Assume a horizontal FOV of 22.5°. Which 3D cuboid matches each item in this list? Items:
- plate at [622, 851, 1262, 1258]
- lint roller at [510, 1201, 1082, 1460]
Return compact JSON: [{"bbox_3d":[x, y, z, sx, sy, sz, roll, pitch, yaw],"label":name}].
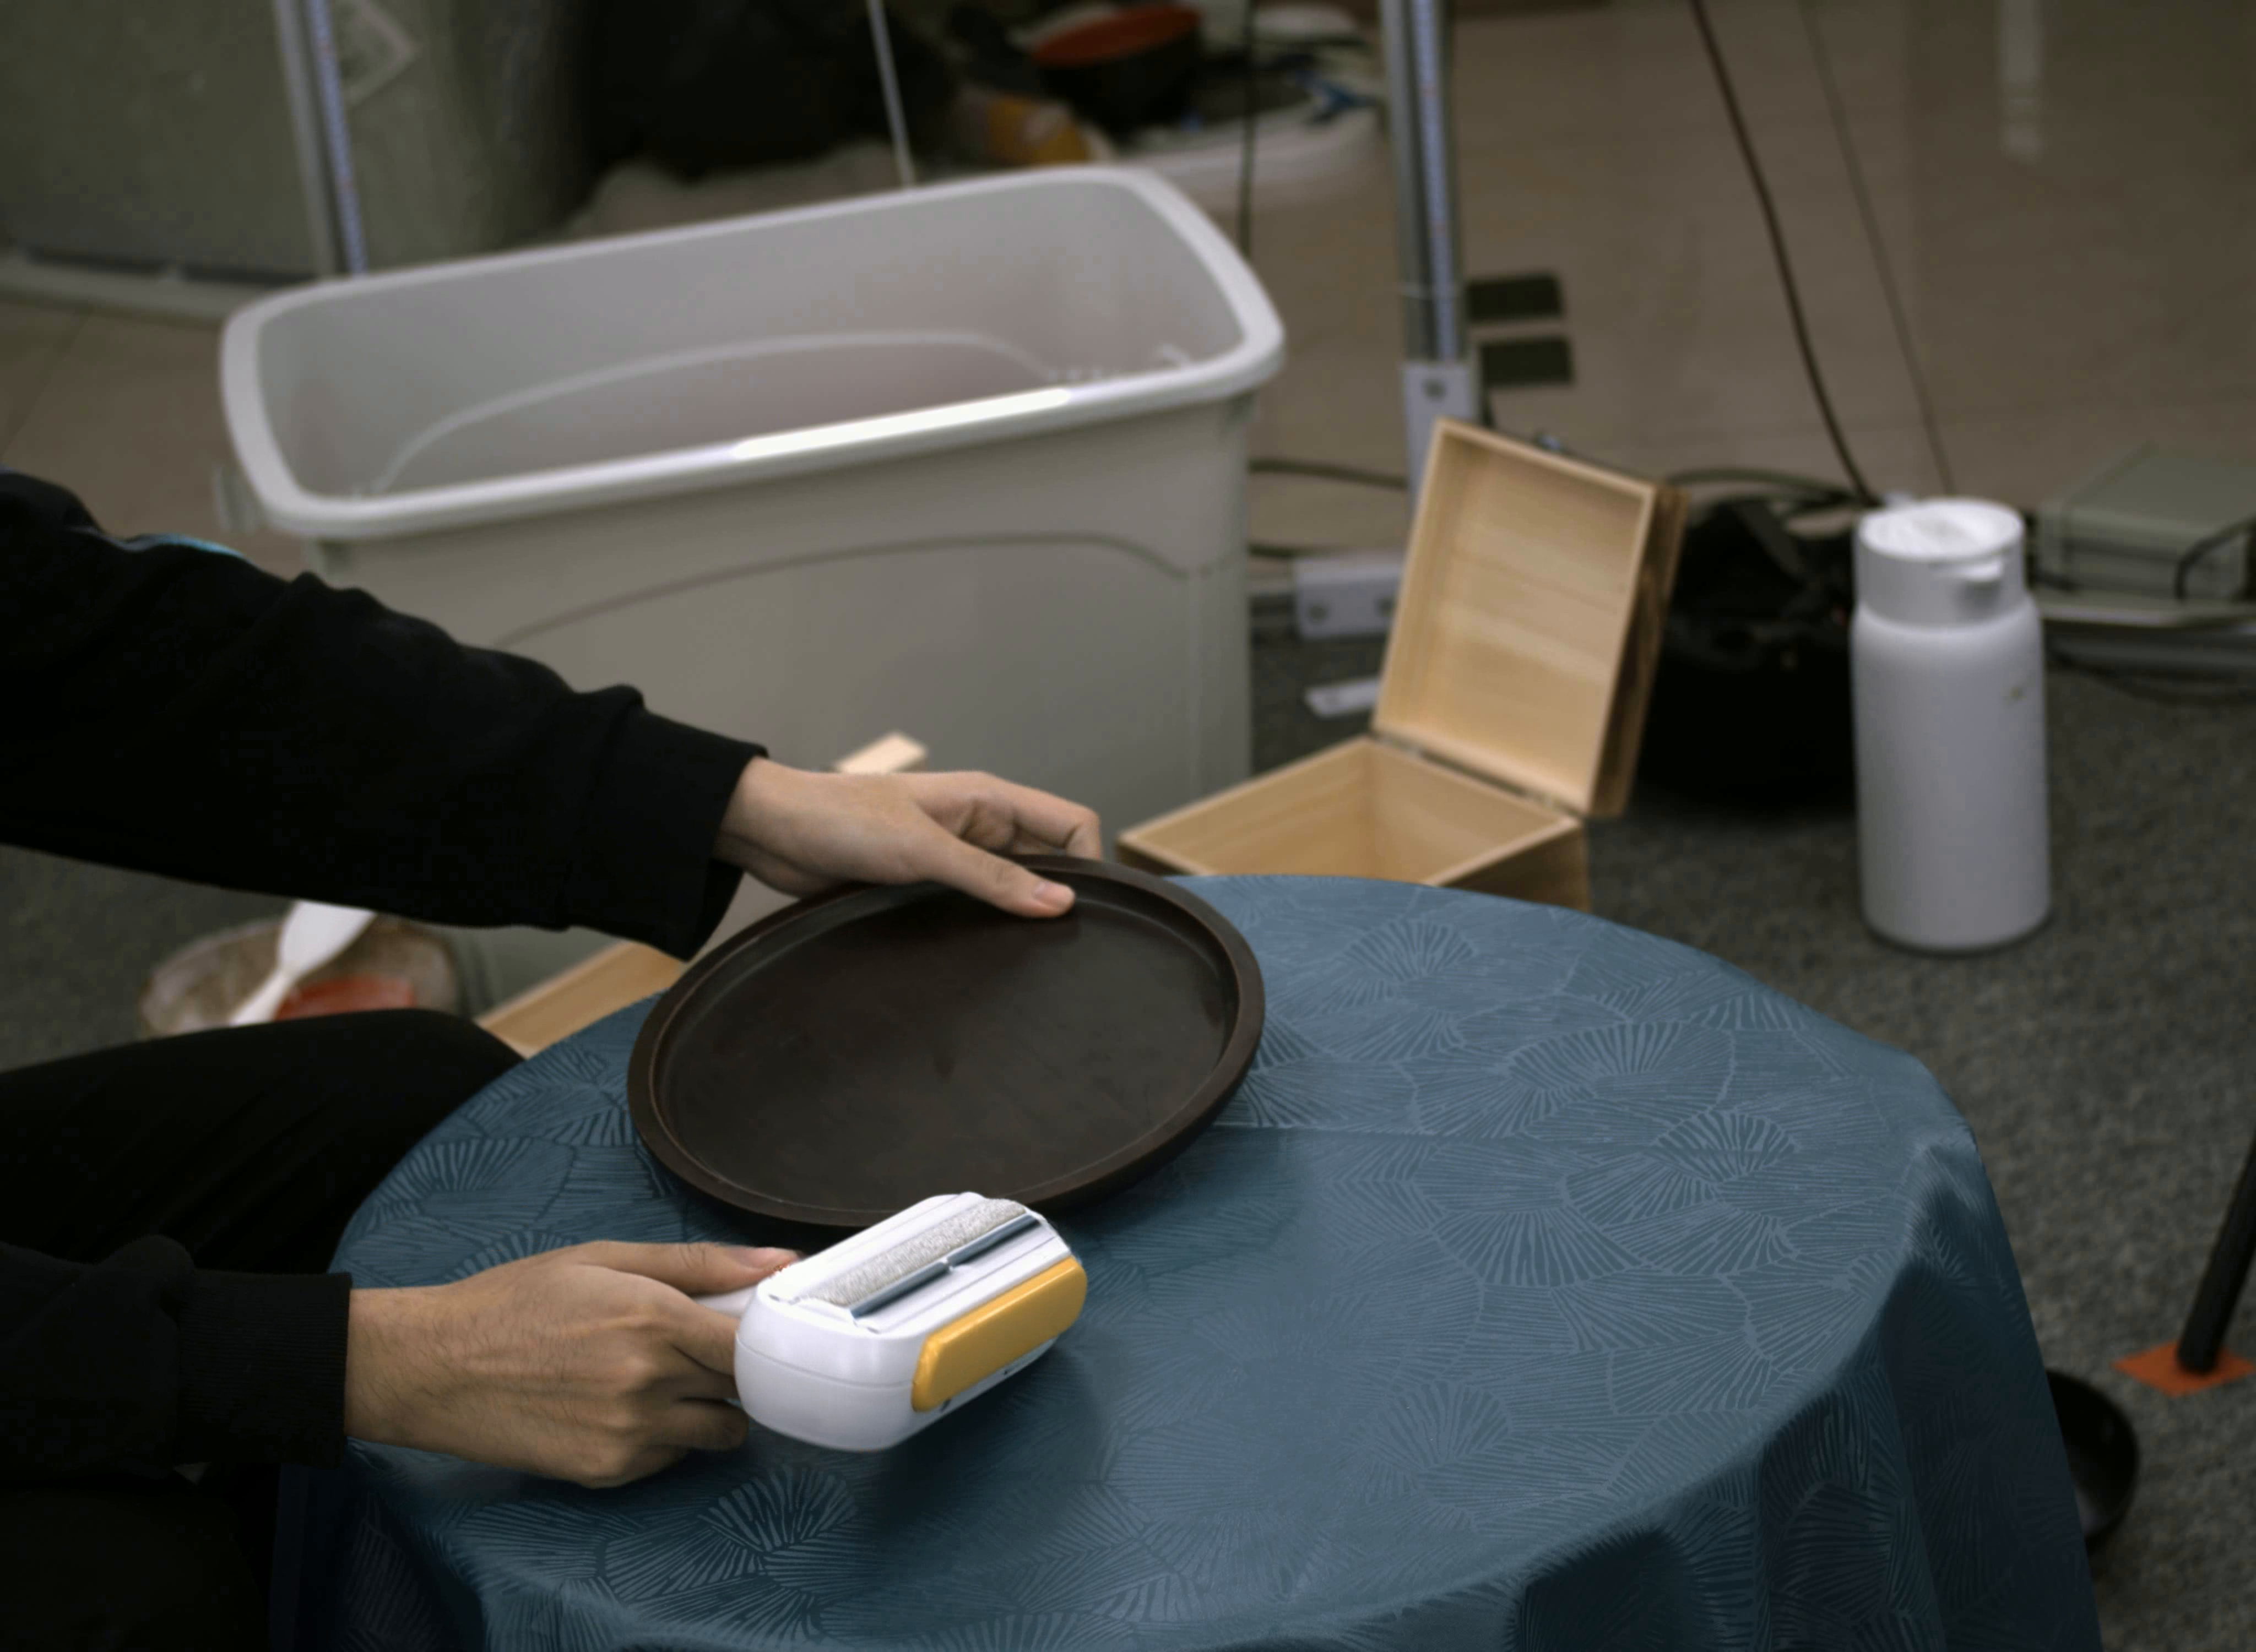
[{"bbox_3d":[-0.071,0.088,2.208,0.254,0.029,0.250,-9,32,6],"label":"plate"},{"bbox_3d":[-0.132,0.171,1.996,0.191,0.075,0.191,8,15,24],"label":"lint roller"}]
